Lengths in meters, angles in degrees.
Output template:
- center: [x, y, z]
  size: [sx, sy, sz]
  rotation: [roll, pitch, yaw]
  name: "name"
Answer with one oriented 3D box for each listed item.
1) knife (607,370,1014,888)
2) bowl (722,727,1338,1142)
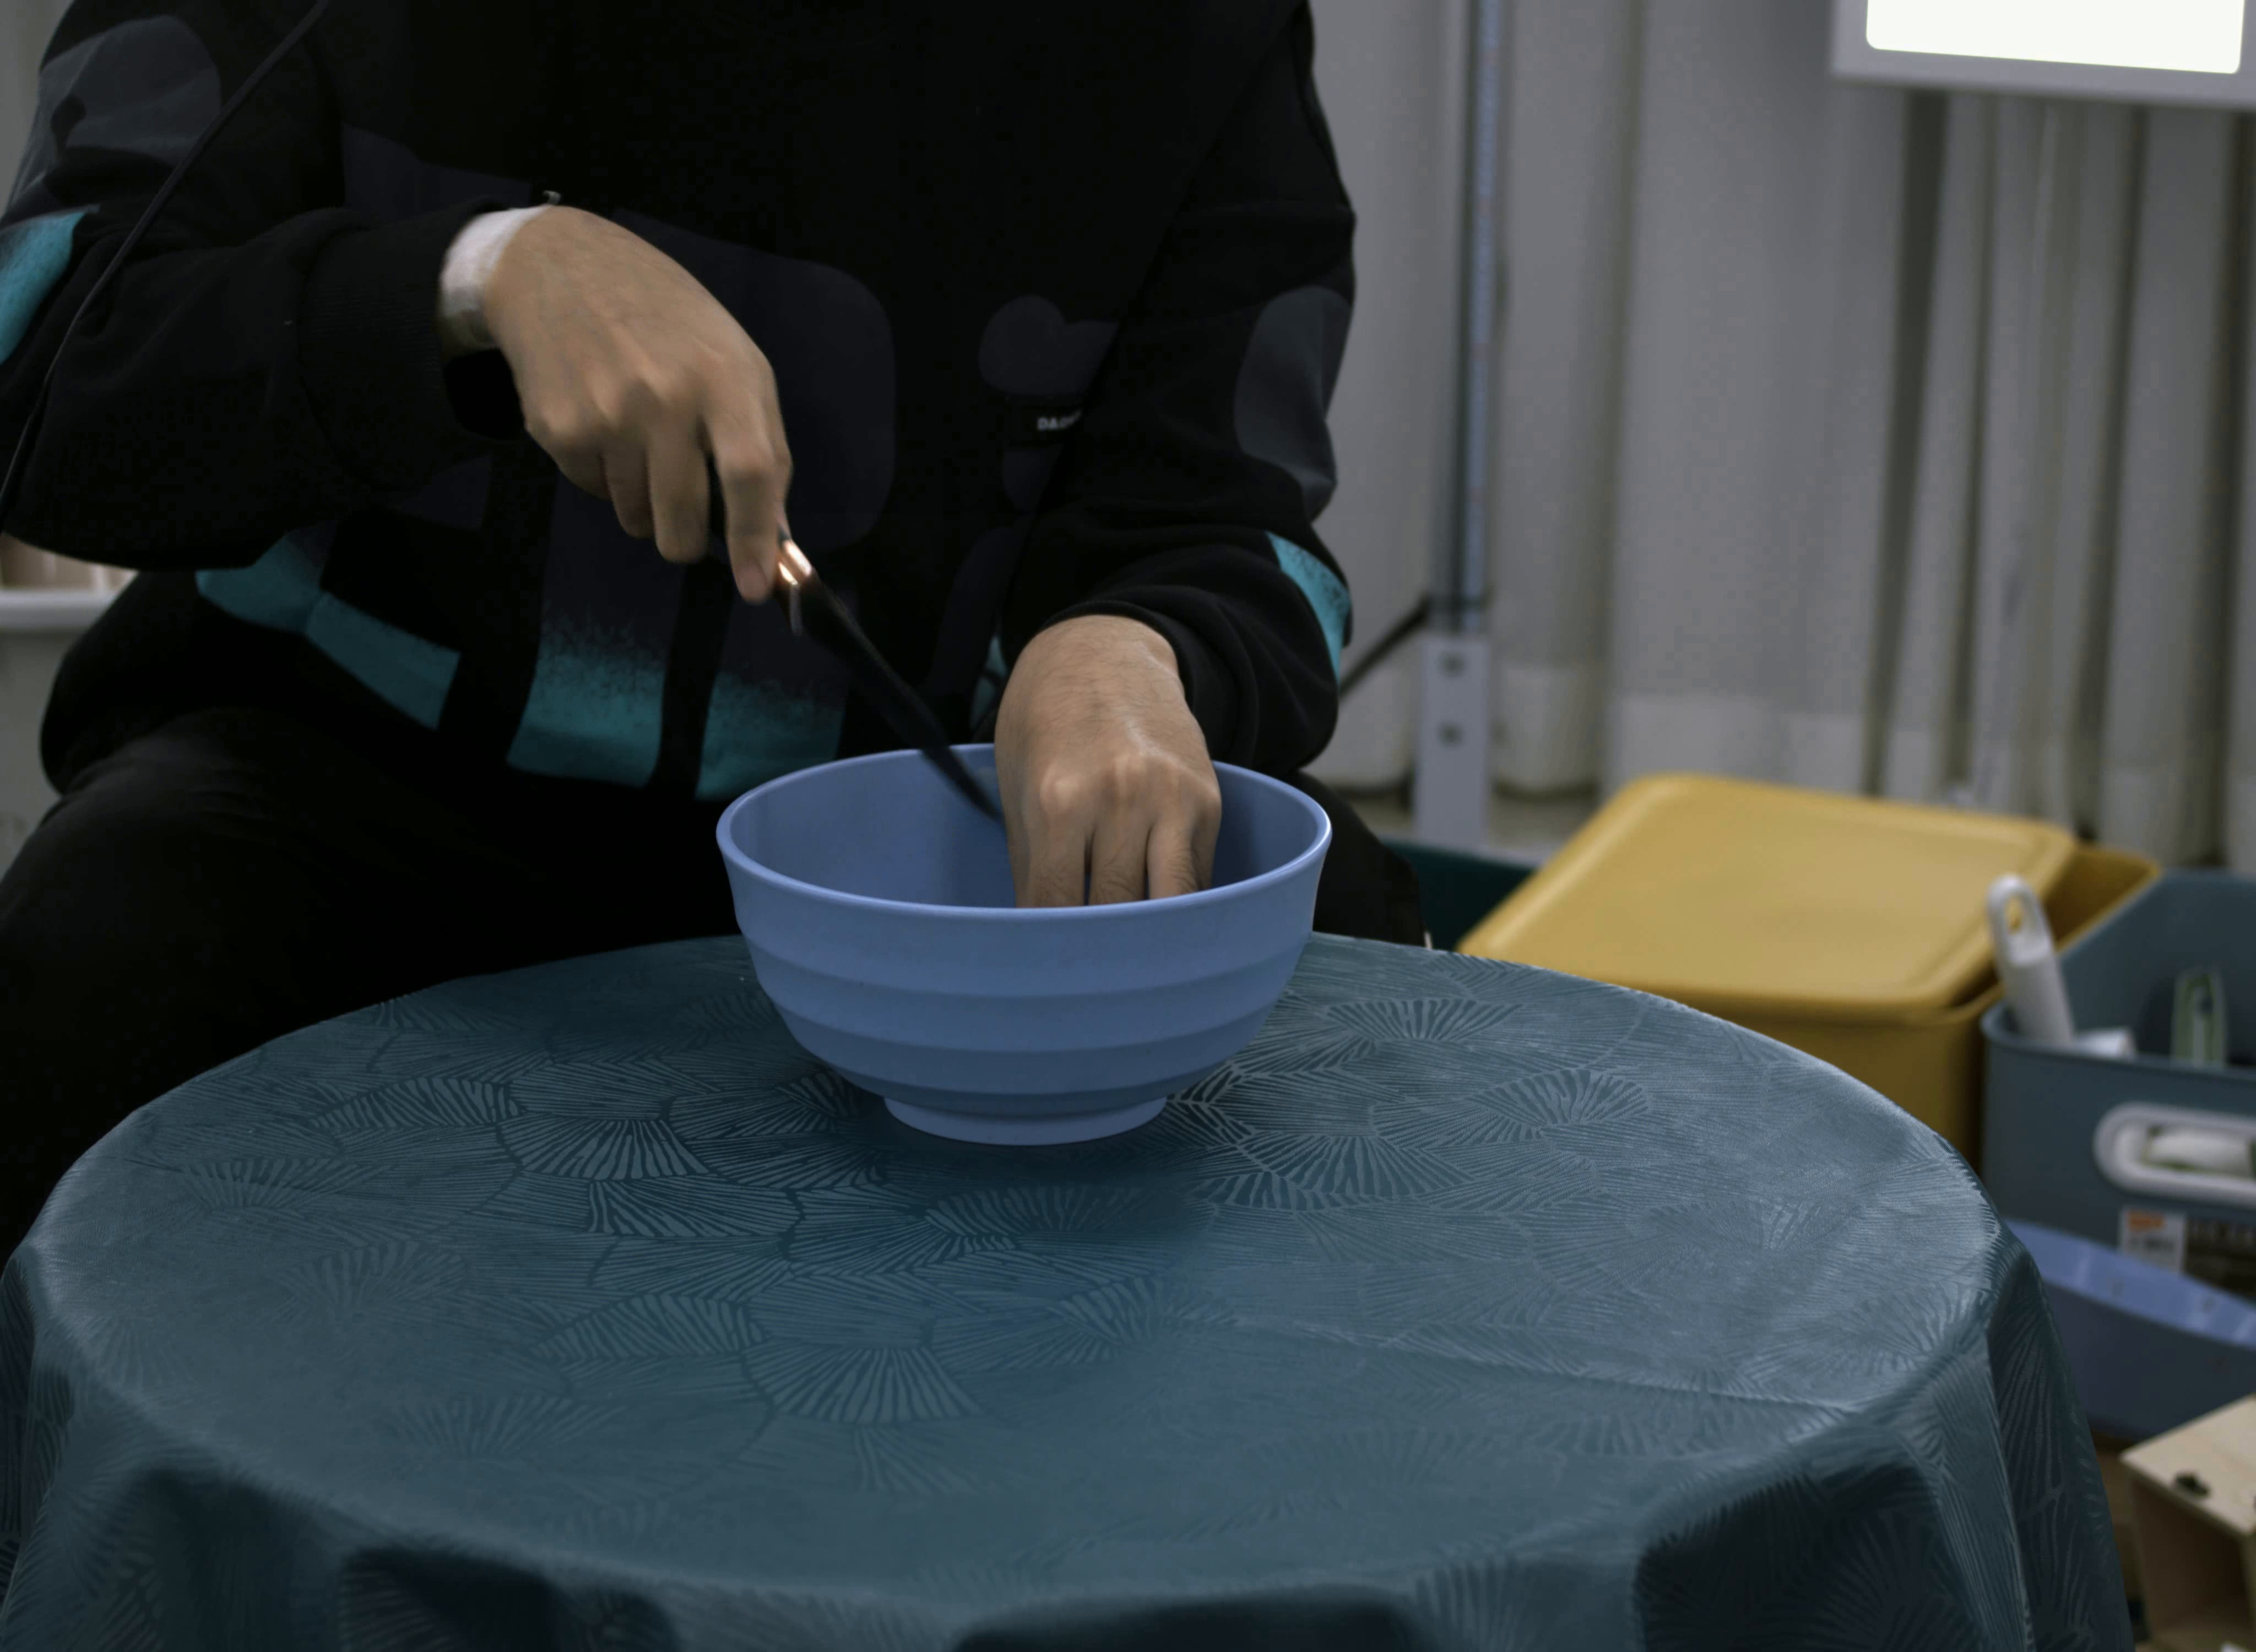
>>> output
- center: [-0.101, -0.065, 1.690]
  size: [0.017, 0.026, 0.223]
  rotation: [-24, 64, -35]
  name: "knife"
- center: [-0.032, 0.041, 1.690]
  size: [0.196, 0.096, 0.195]
  rotation: [2, 18, 0]
  name: "bowl"
